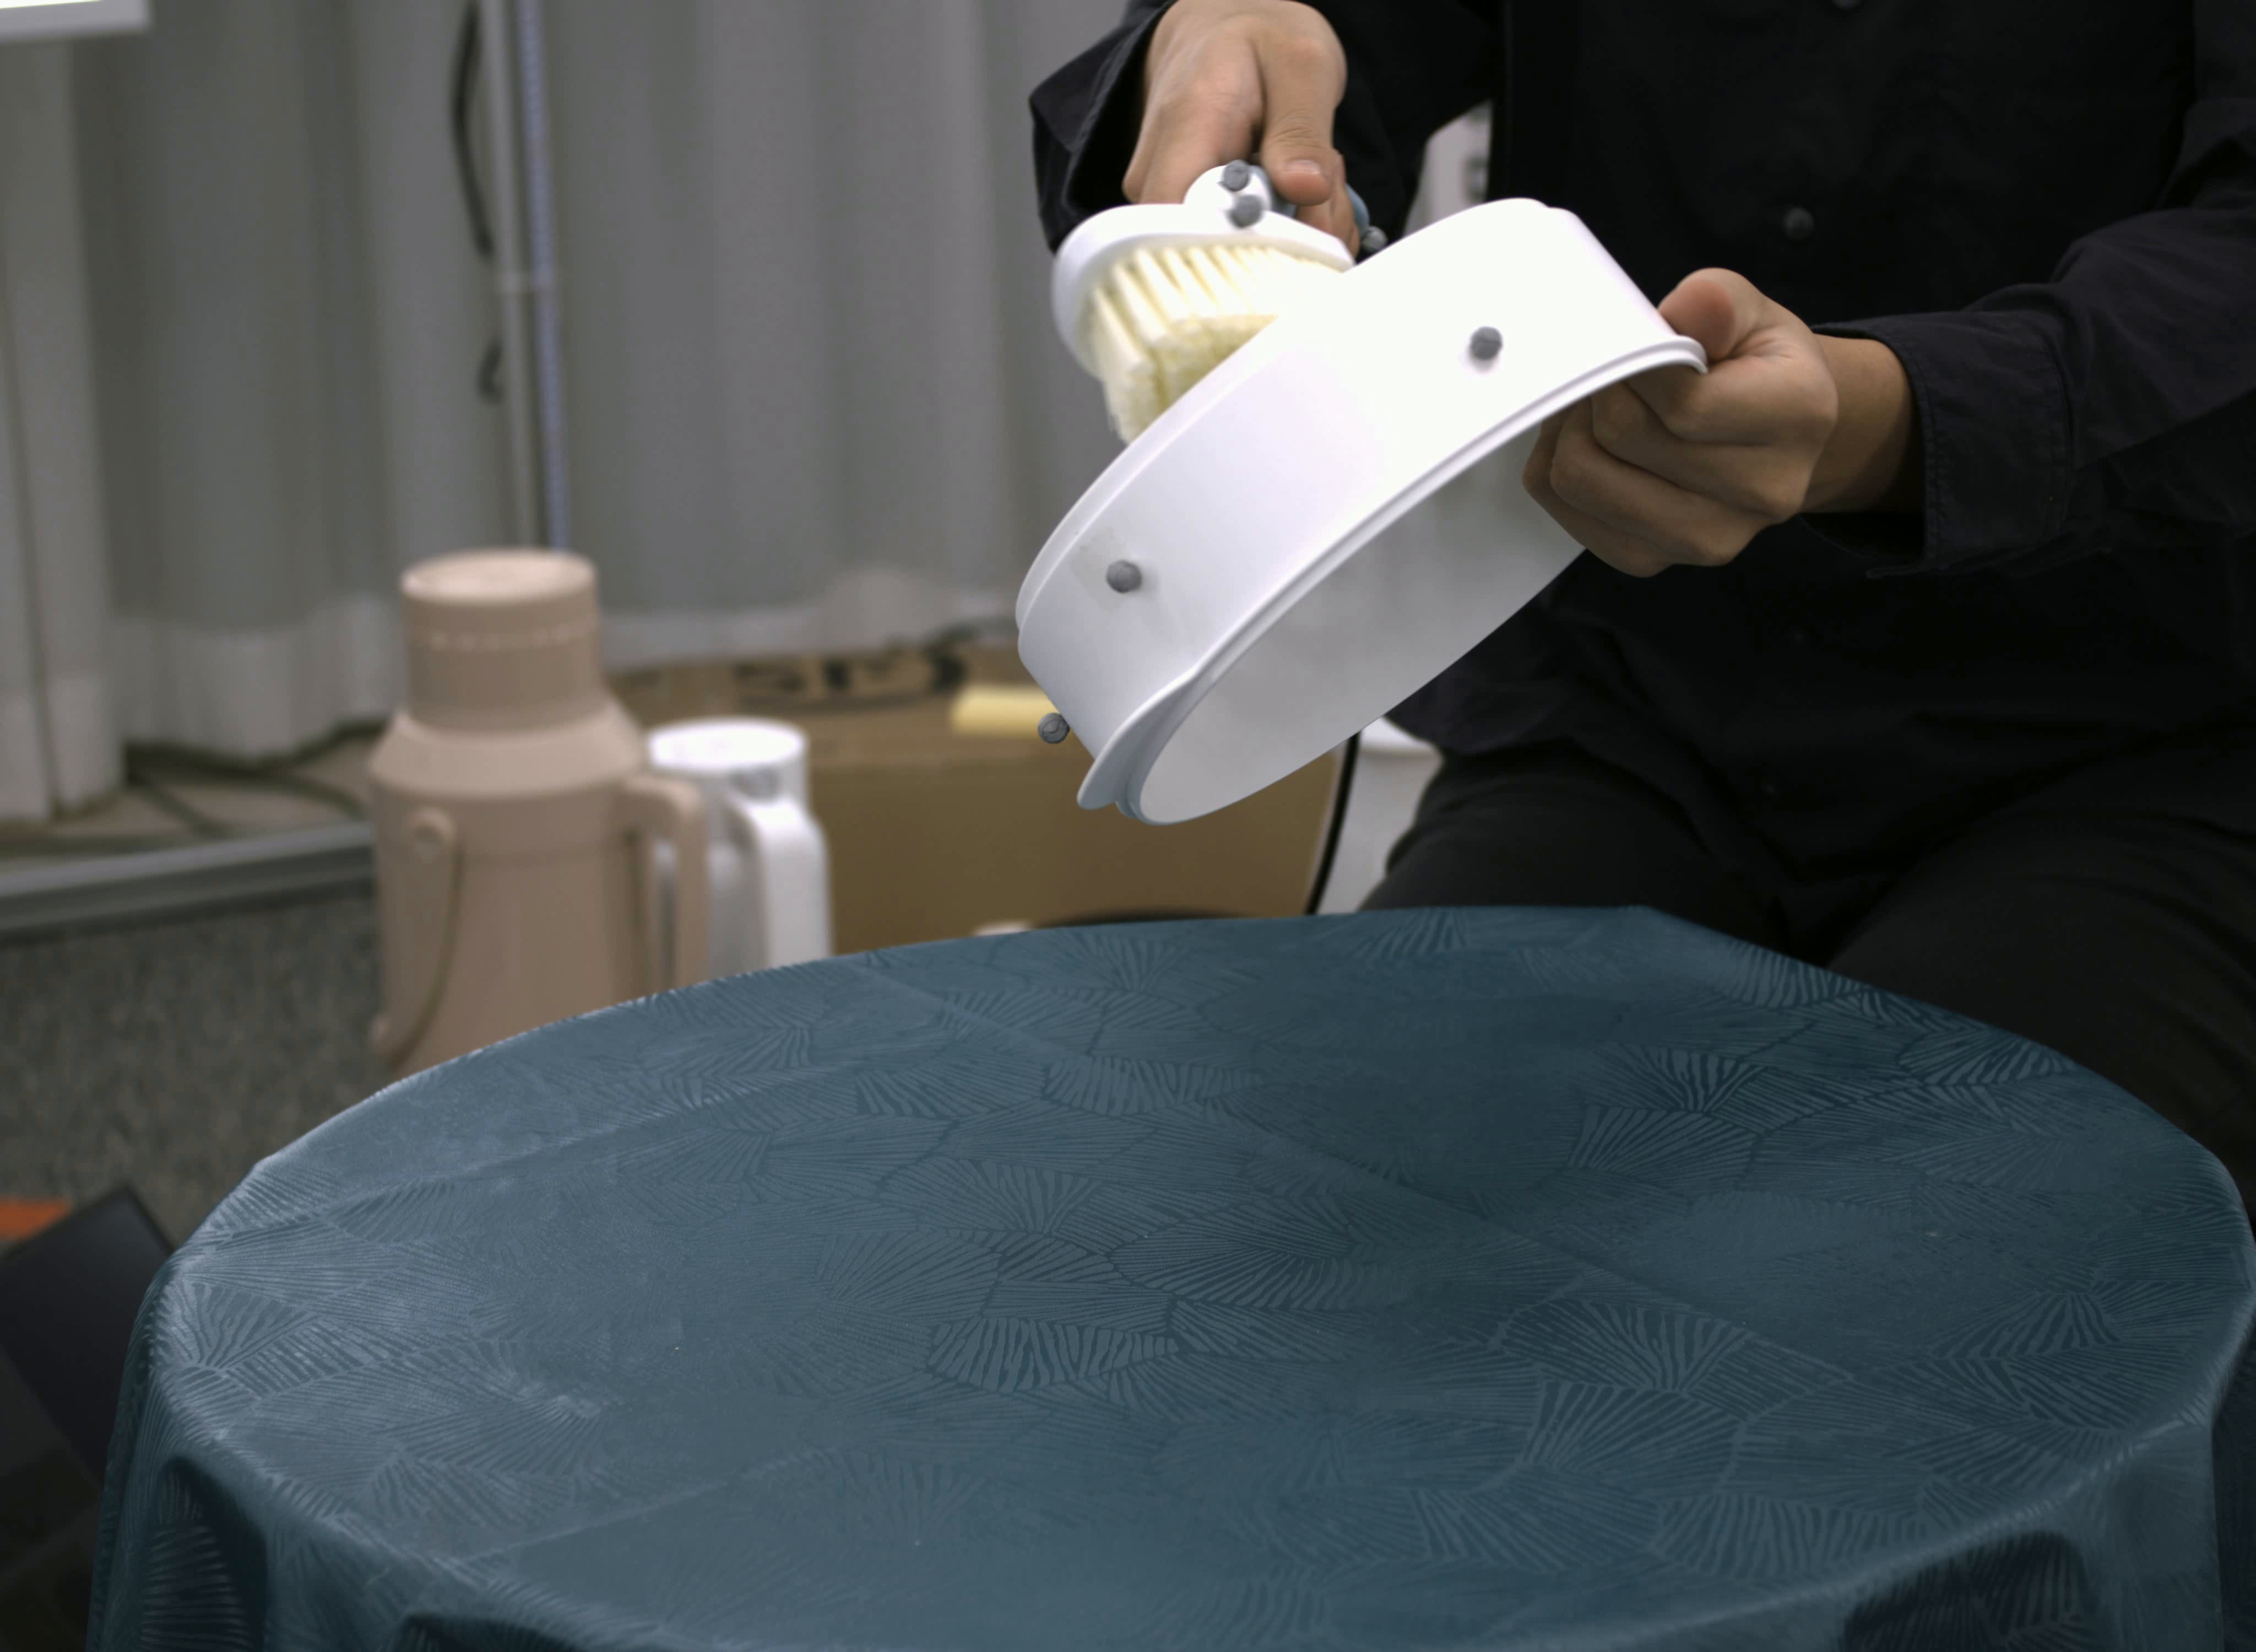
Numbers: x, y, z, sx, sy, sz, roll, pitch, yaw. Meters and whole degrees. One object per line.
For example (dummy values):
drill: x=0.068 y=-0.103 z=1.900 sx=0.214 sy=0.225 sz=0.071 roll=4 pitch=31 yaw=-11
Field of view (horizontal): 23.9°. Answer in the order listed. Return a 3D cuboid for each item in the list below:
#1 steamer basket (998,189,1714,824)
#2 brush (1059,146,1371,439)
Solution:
steamer basket: x=0.056 y=-0.088 z=1.440 sx=0.227 sy=0.070 sz=0.203 roll=-32 pitch=-12 yaw=-29
brush: x=0.051 y=-0.148 z=1.519 sx=0.083 sy=0.085 sz=0.322 roll=5 pitch=8 yaw=13
